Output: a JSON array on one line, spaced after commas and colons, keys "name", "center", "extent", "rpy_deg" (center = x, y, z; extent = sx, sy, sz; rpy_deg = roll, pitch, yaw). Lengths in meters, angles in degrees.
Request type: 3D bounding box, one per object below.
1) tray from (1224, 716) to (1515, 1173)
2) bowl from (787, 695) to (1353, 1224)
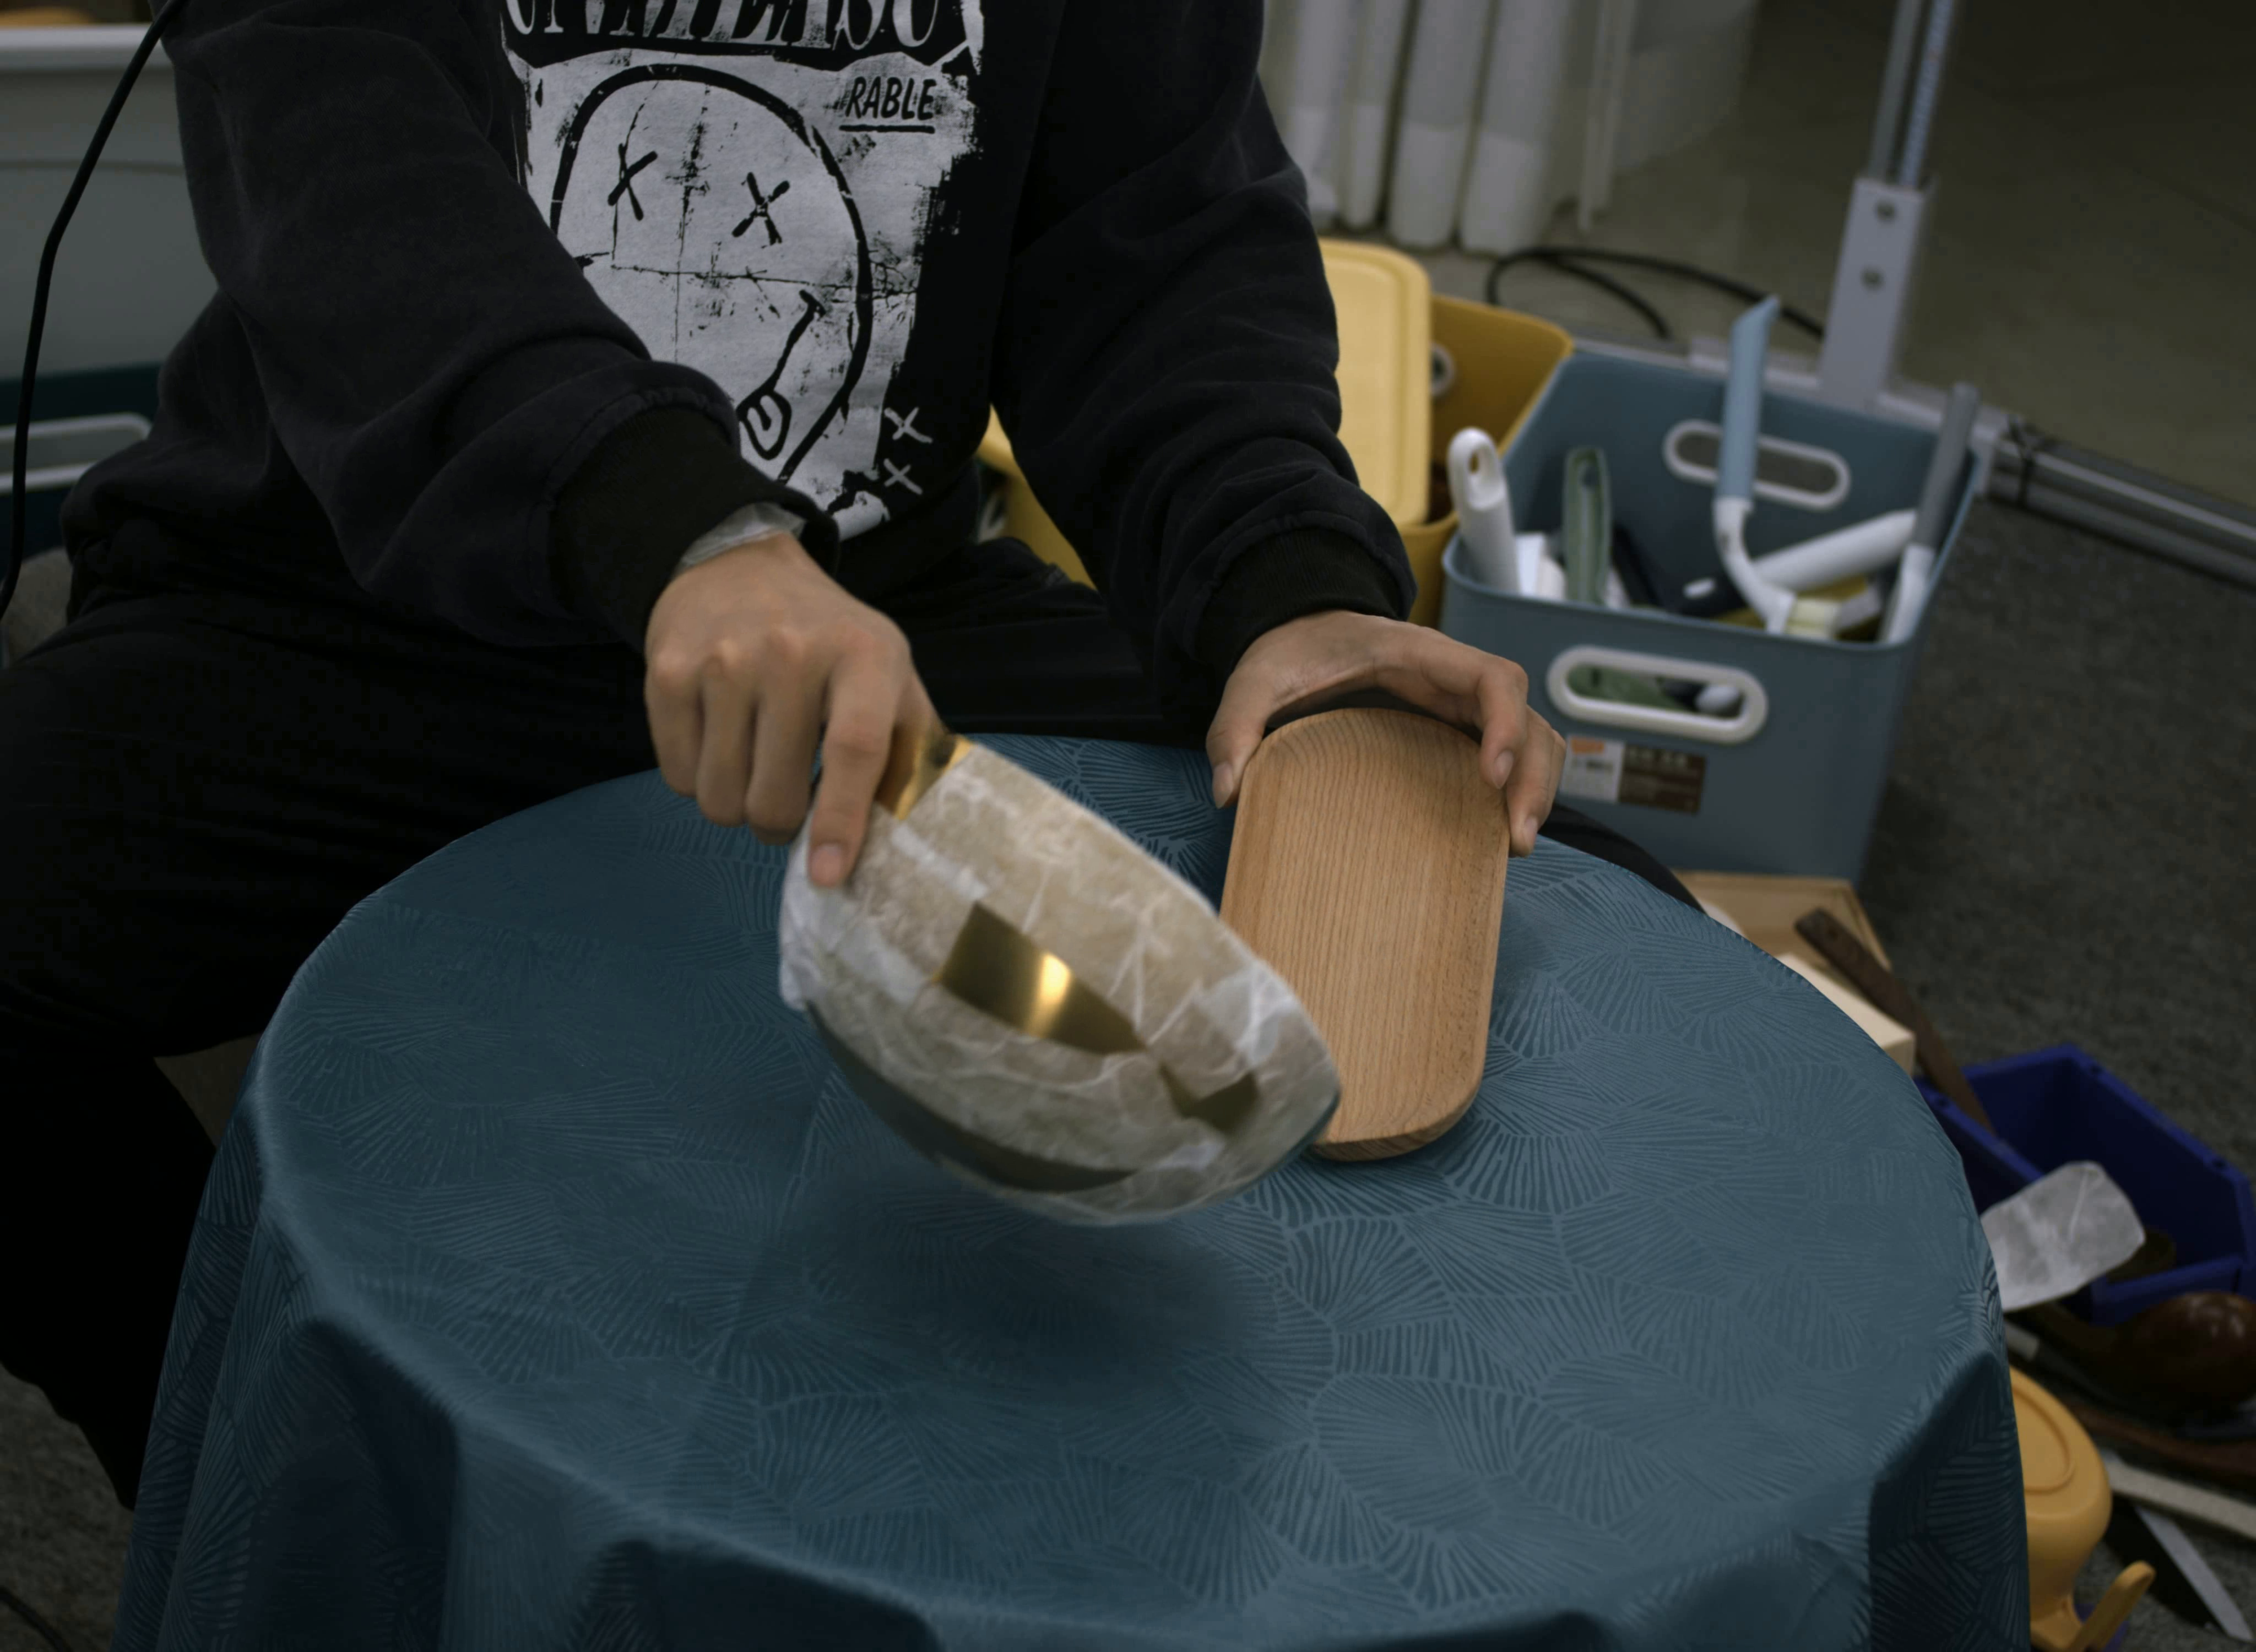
[{"name": "tray", "center": [0.085, 0.040, 1.909], "extent": [0.101, 0.020, 0.233], "rpy_deg": [4, 43, 4]}, {"name": "bowl", "center": [-0.035, 0.063, 1.699], "extent": [0.216, 0.213, 0.095], "rpy_deg": [27, 71, 34]}]
